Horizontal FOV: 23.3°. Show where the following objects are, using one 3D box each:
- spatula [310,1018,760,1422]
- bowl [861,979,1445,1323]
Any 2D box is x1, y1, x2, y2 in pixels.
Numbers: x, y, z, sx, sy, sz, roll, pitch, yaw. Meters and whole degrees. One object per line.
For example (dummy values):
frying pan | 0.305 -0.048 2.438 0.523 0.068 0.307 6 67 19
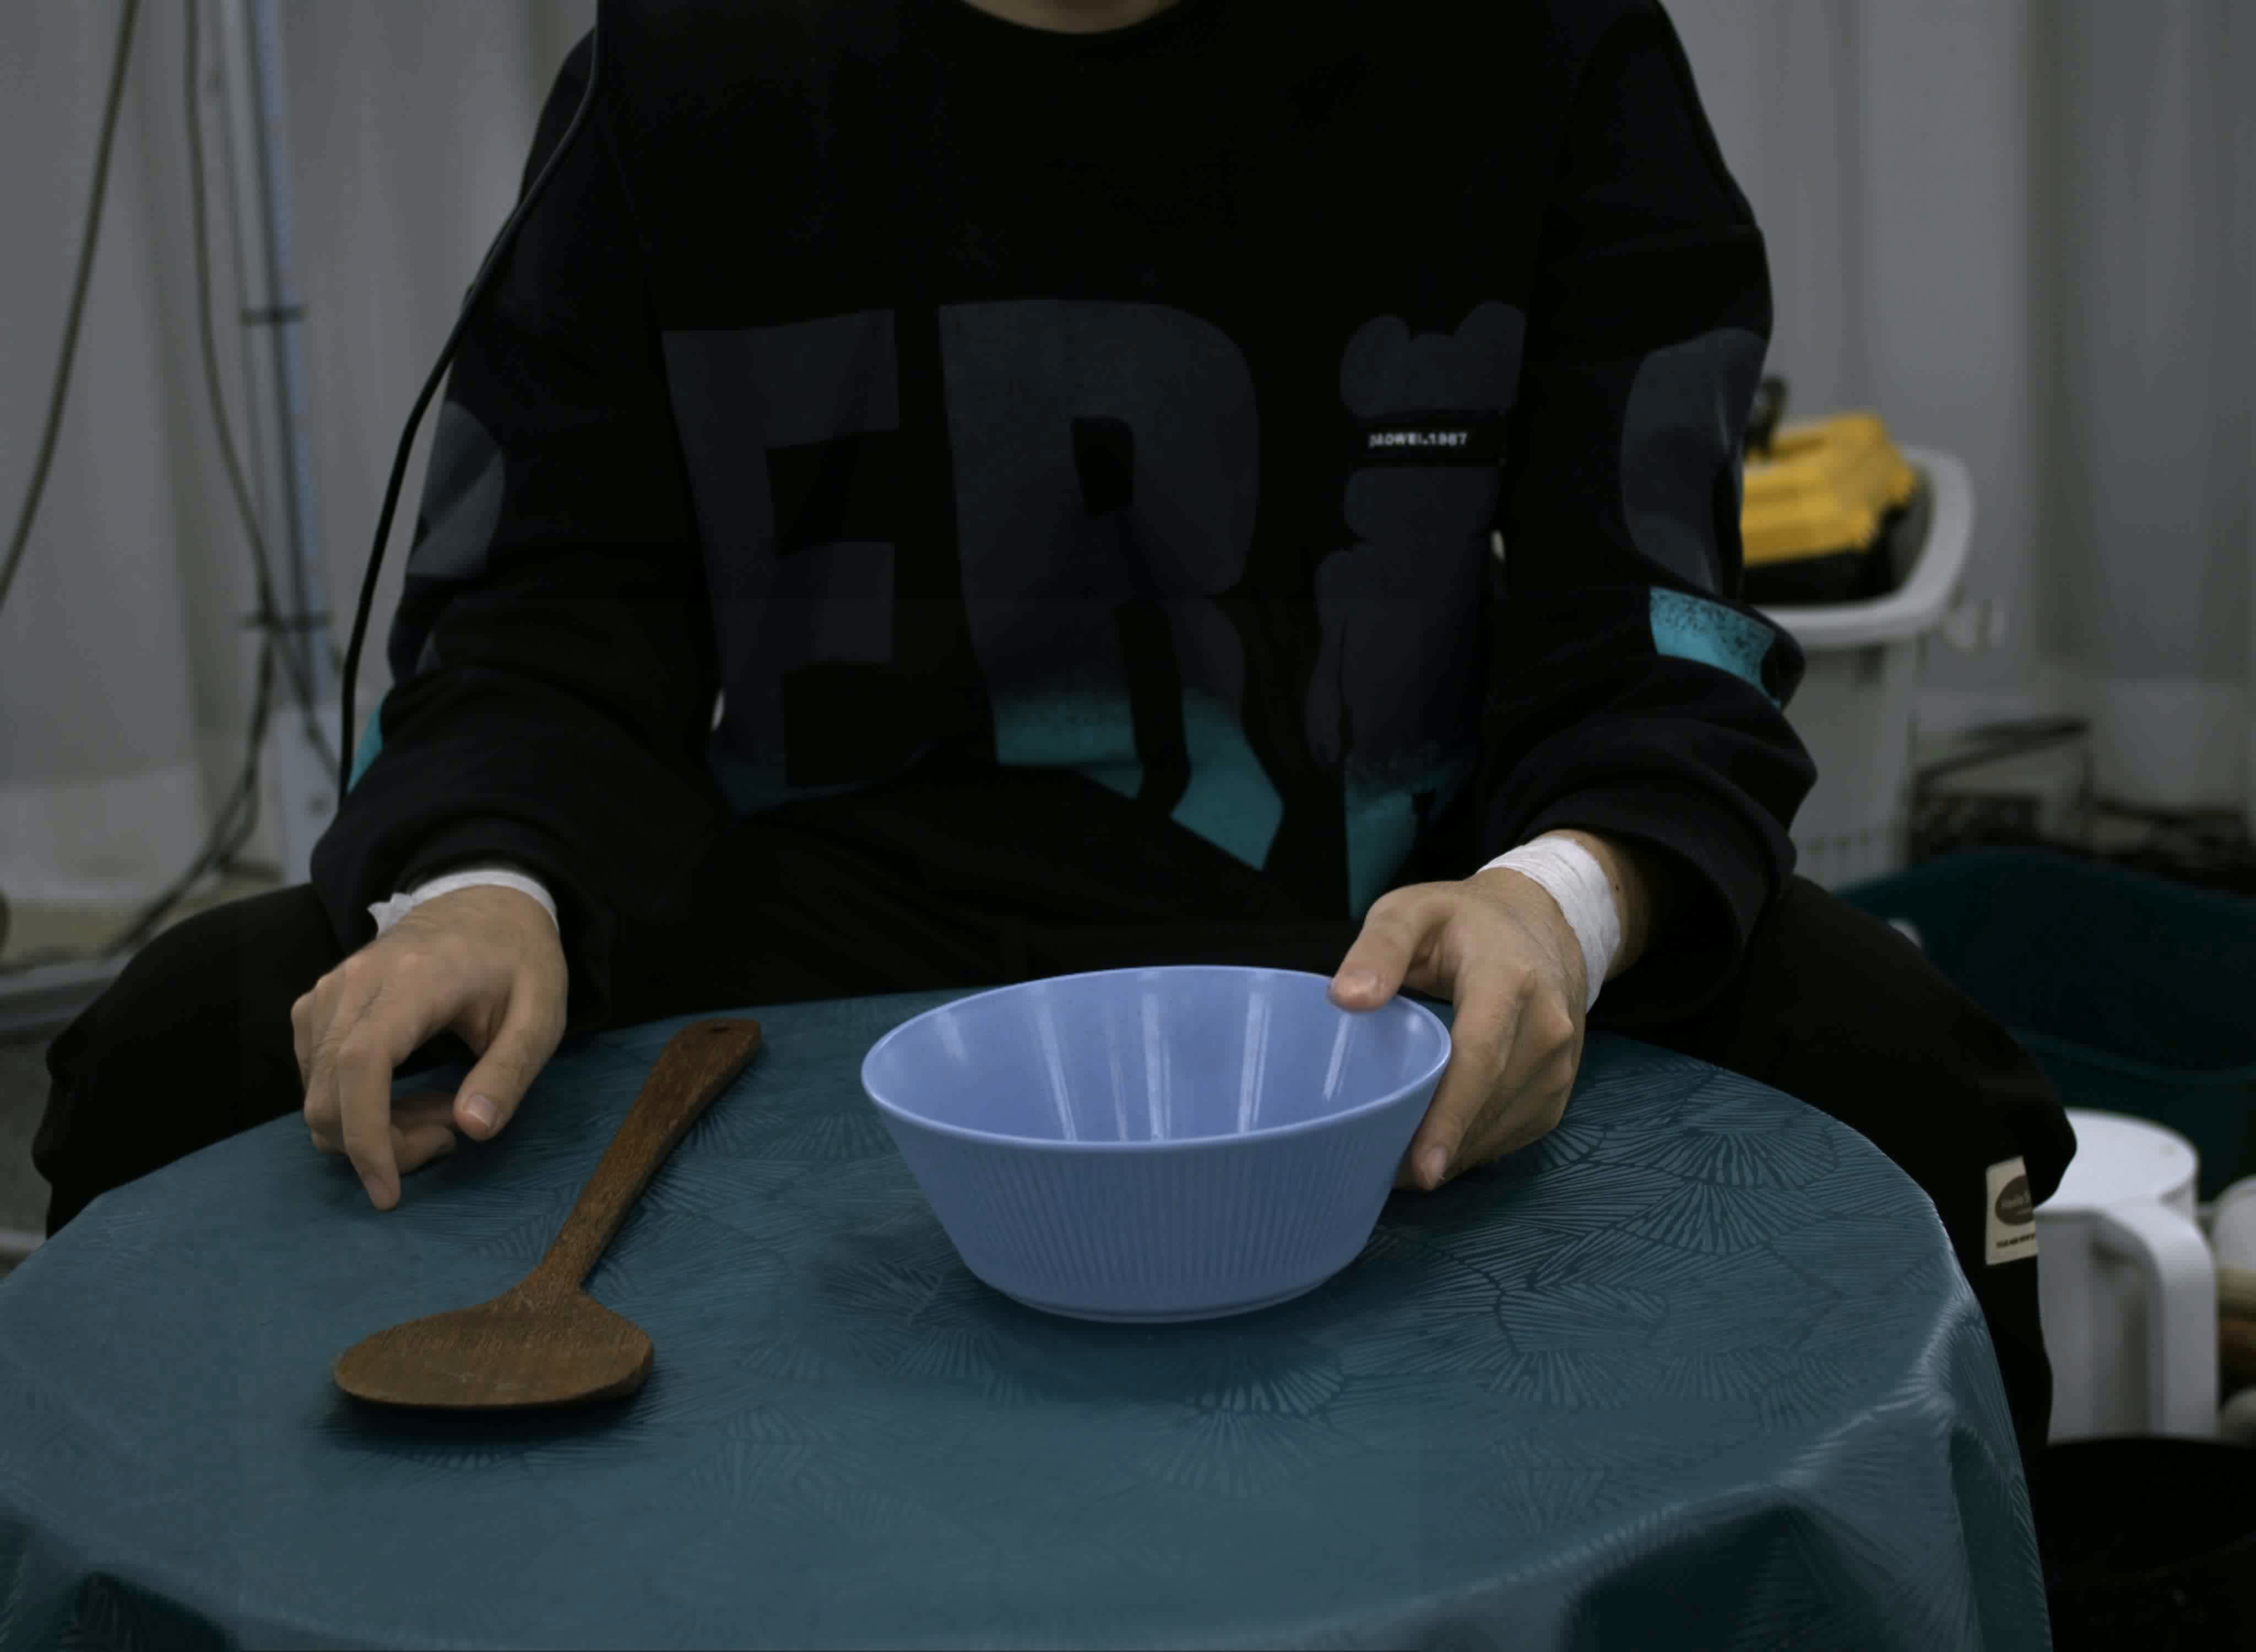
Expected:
spatula | -0.164 0.117 1.711 0.096 0.016 0.388 0 15 8
bowl | 0.009 0.099 1.638 0.175 0.070 0.177 -3 14 0
